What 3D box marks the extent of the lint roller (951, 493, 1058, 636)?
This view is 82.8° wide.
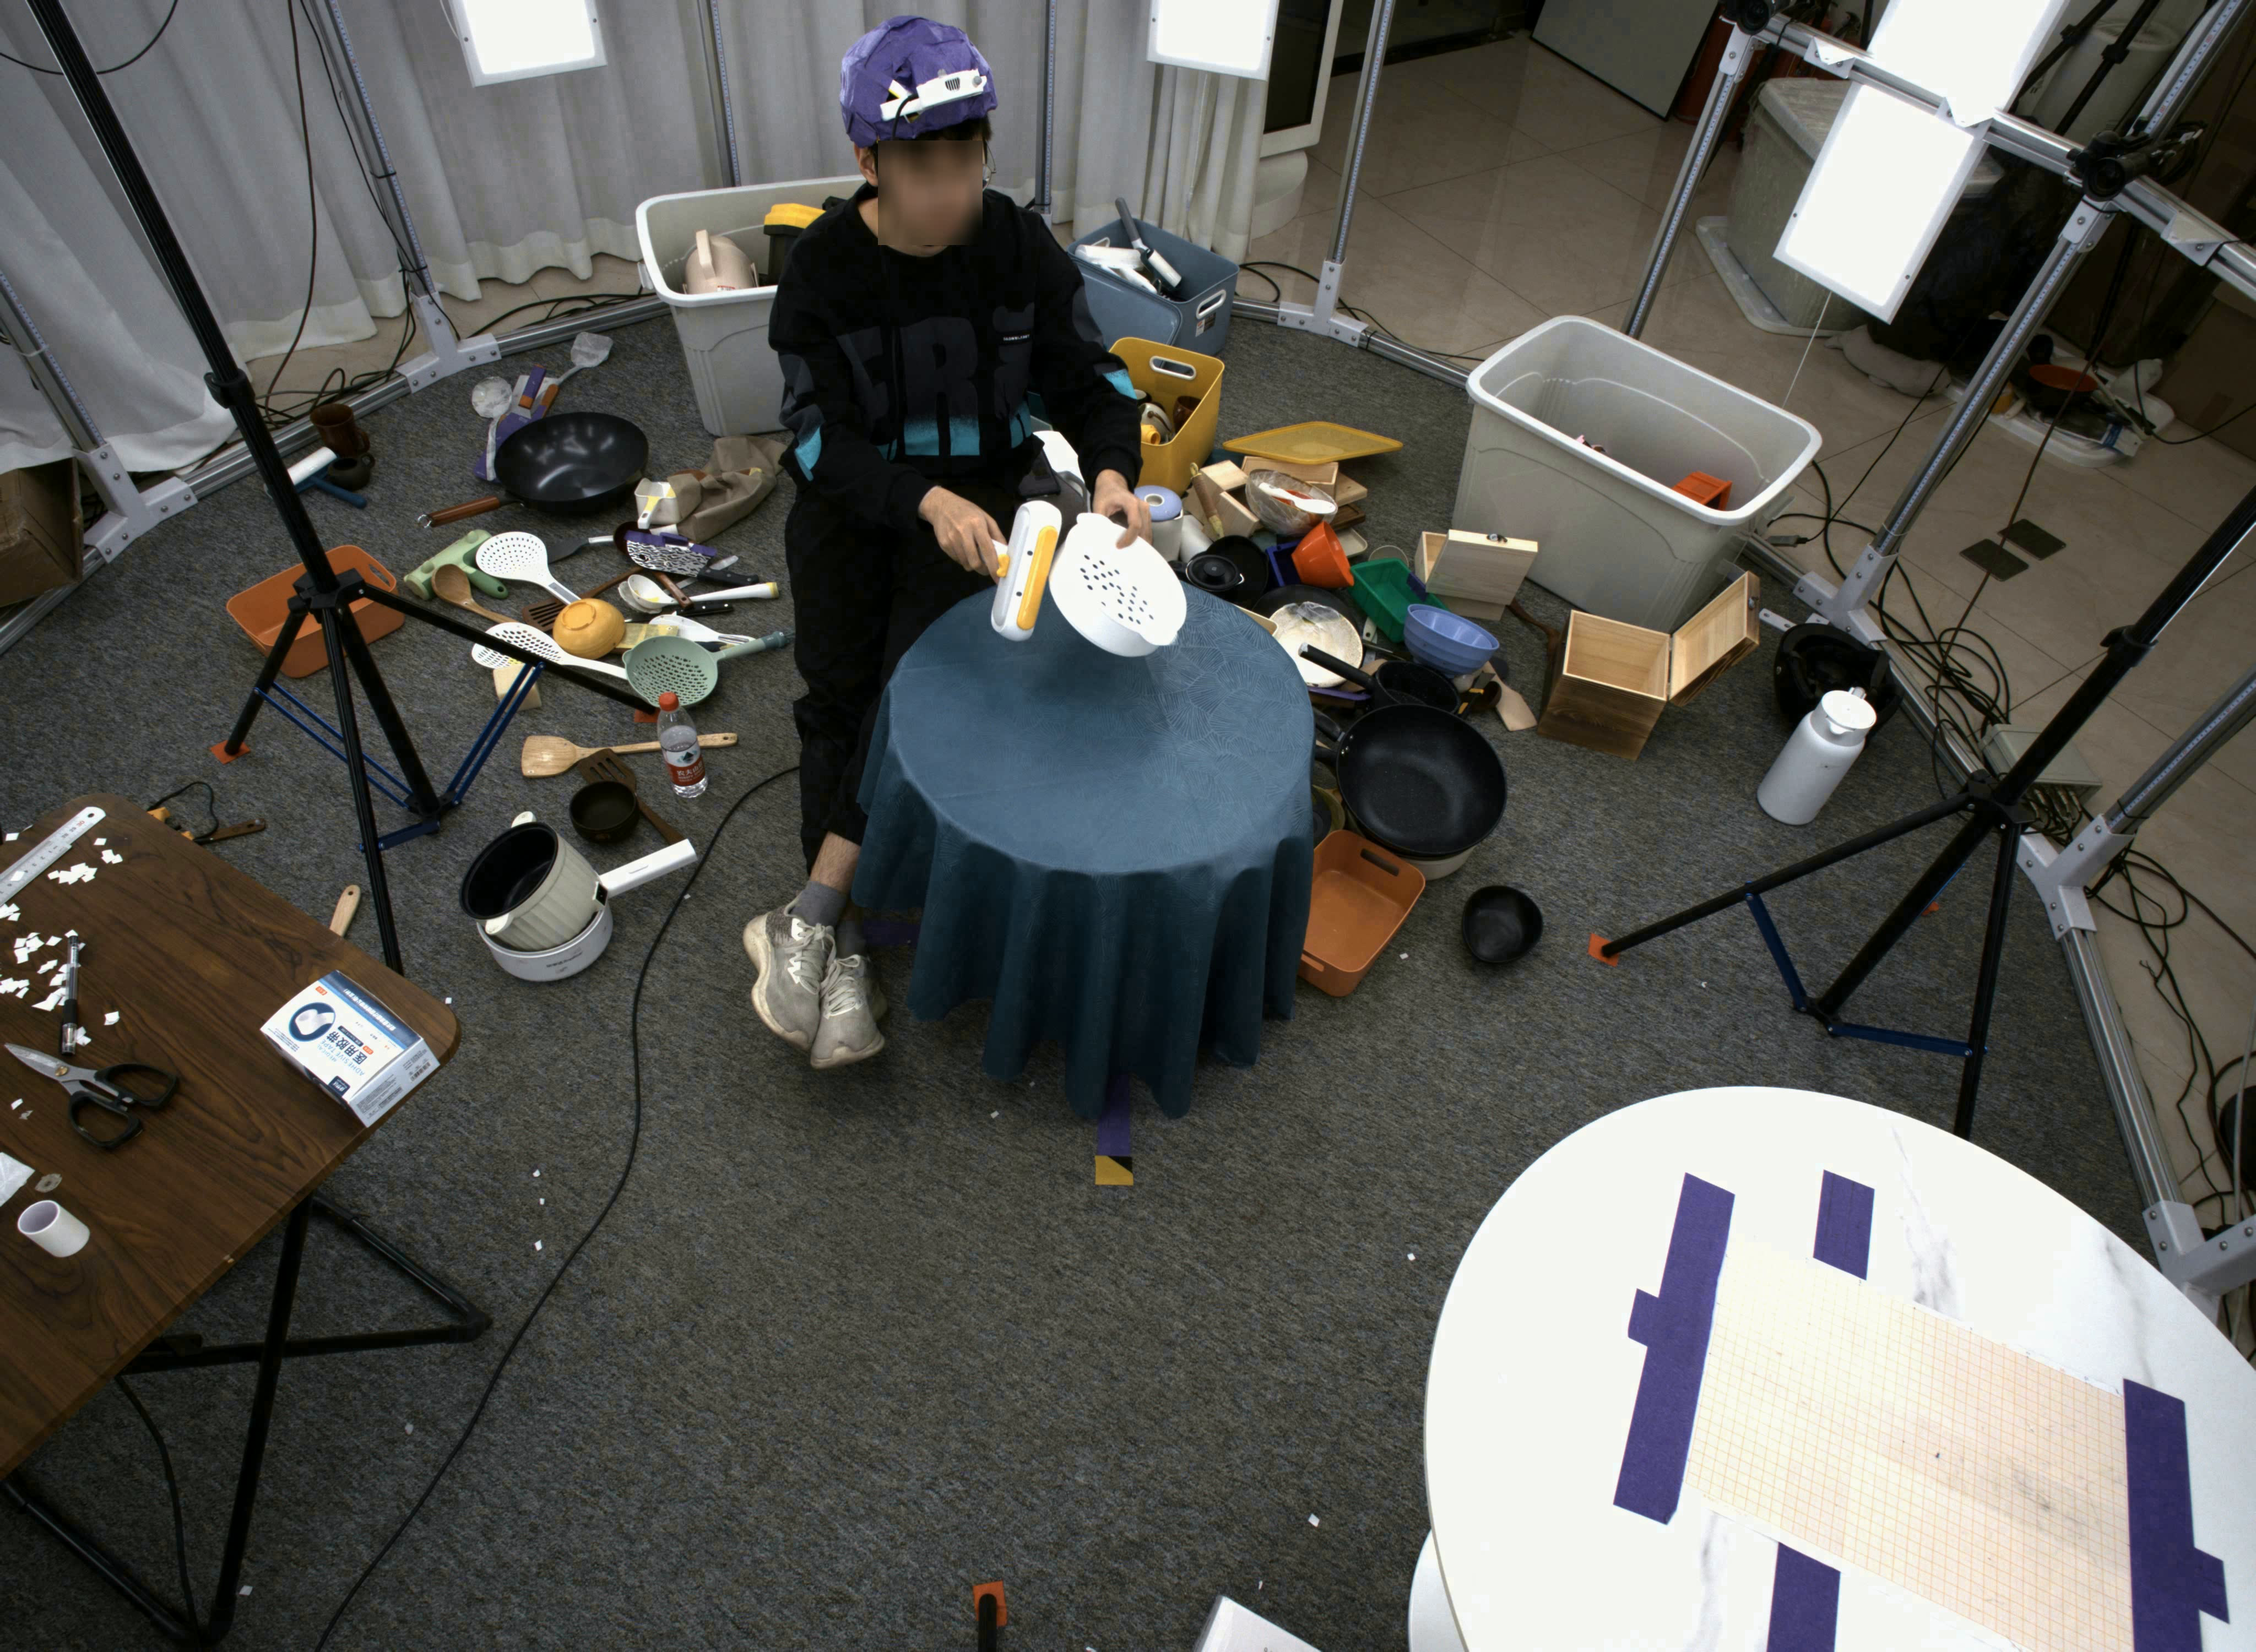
[{"bbox_3d":[-0.177,-0.377,1.798,0.074,0.190,0.195,-4,23,-36],"label":"lint roller"}]

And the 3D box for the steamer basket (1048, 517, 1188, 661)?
[{"bbox_3d":[-0.015,-0.321,1.779,0.201,0.068,0.234,-8,61,-45],"label":"steamer basket"}]
